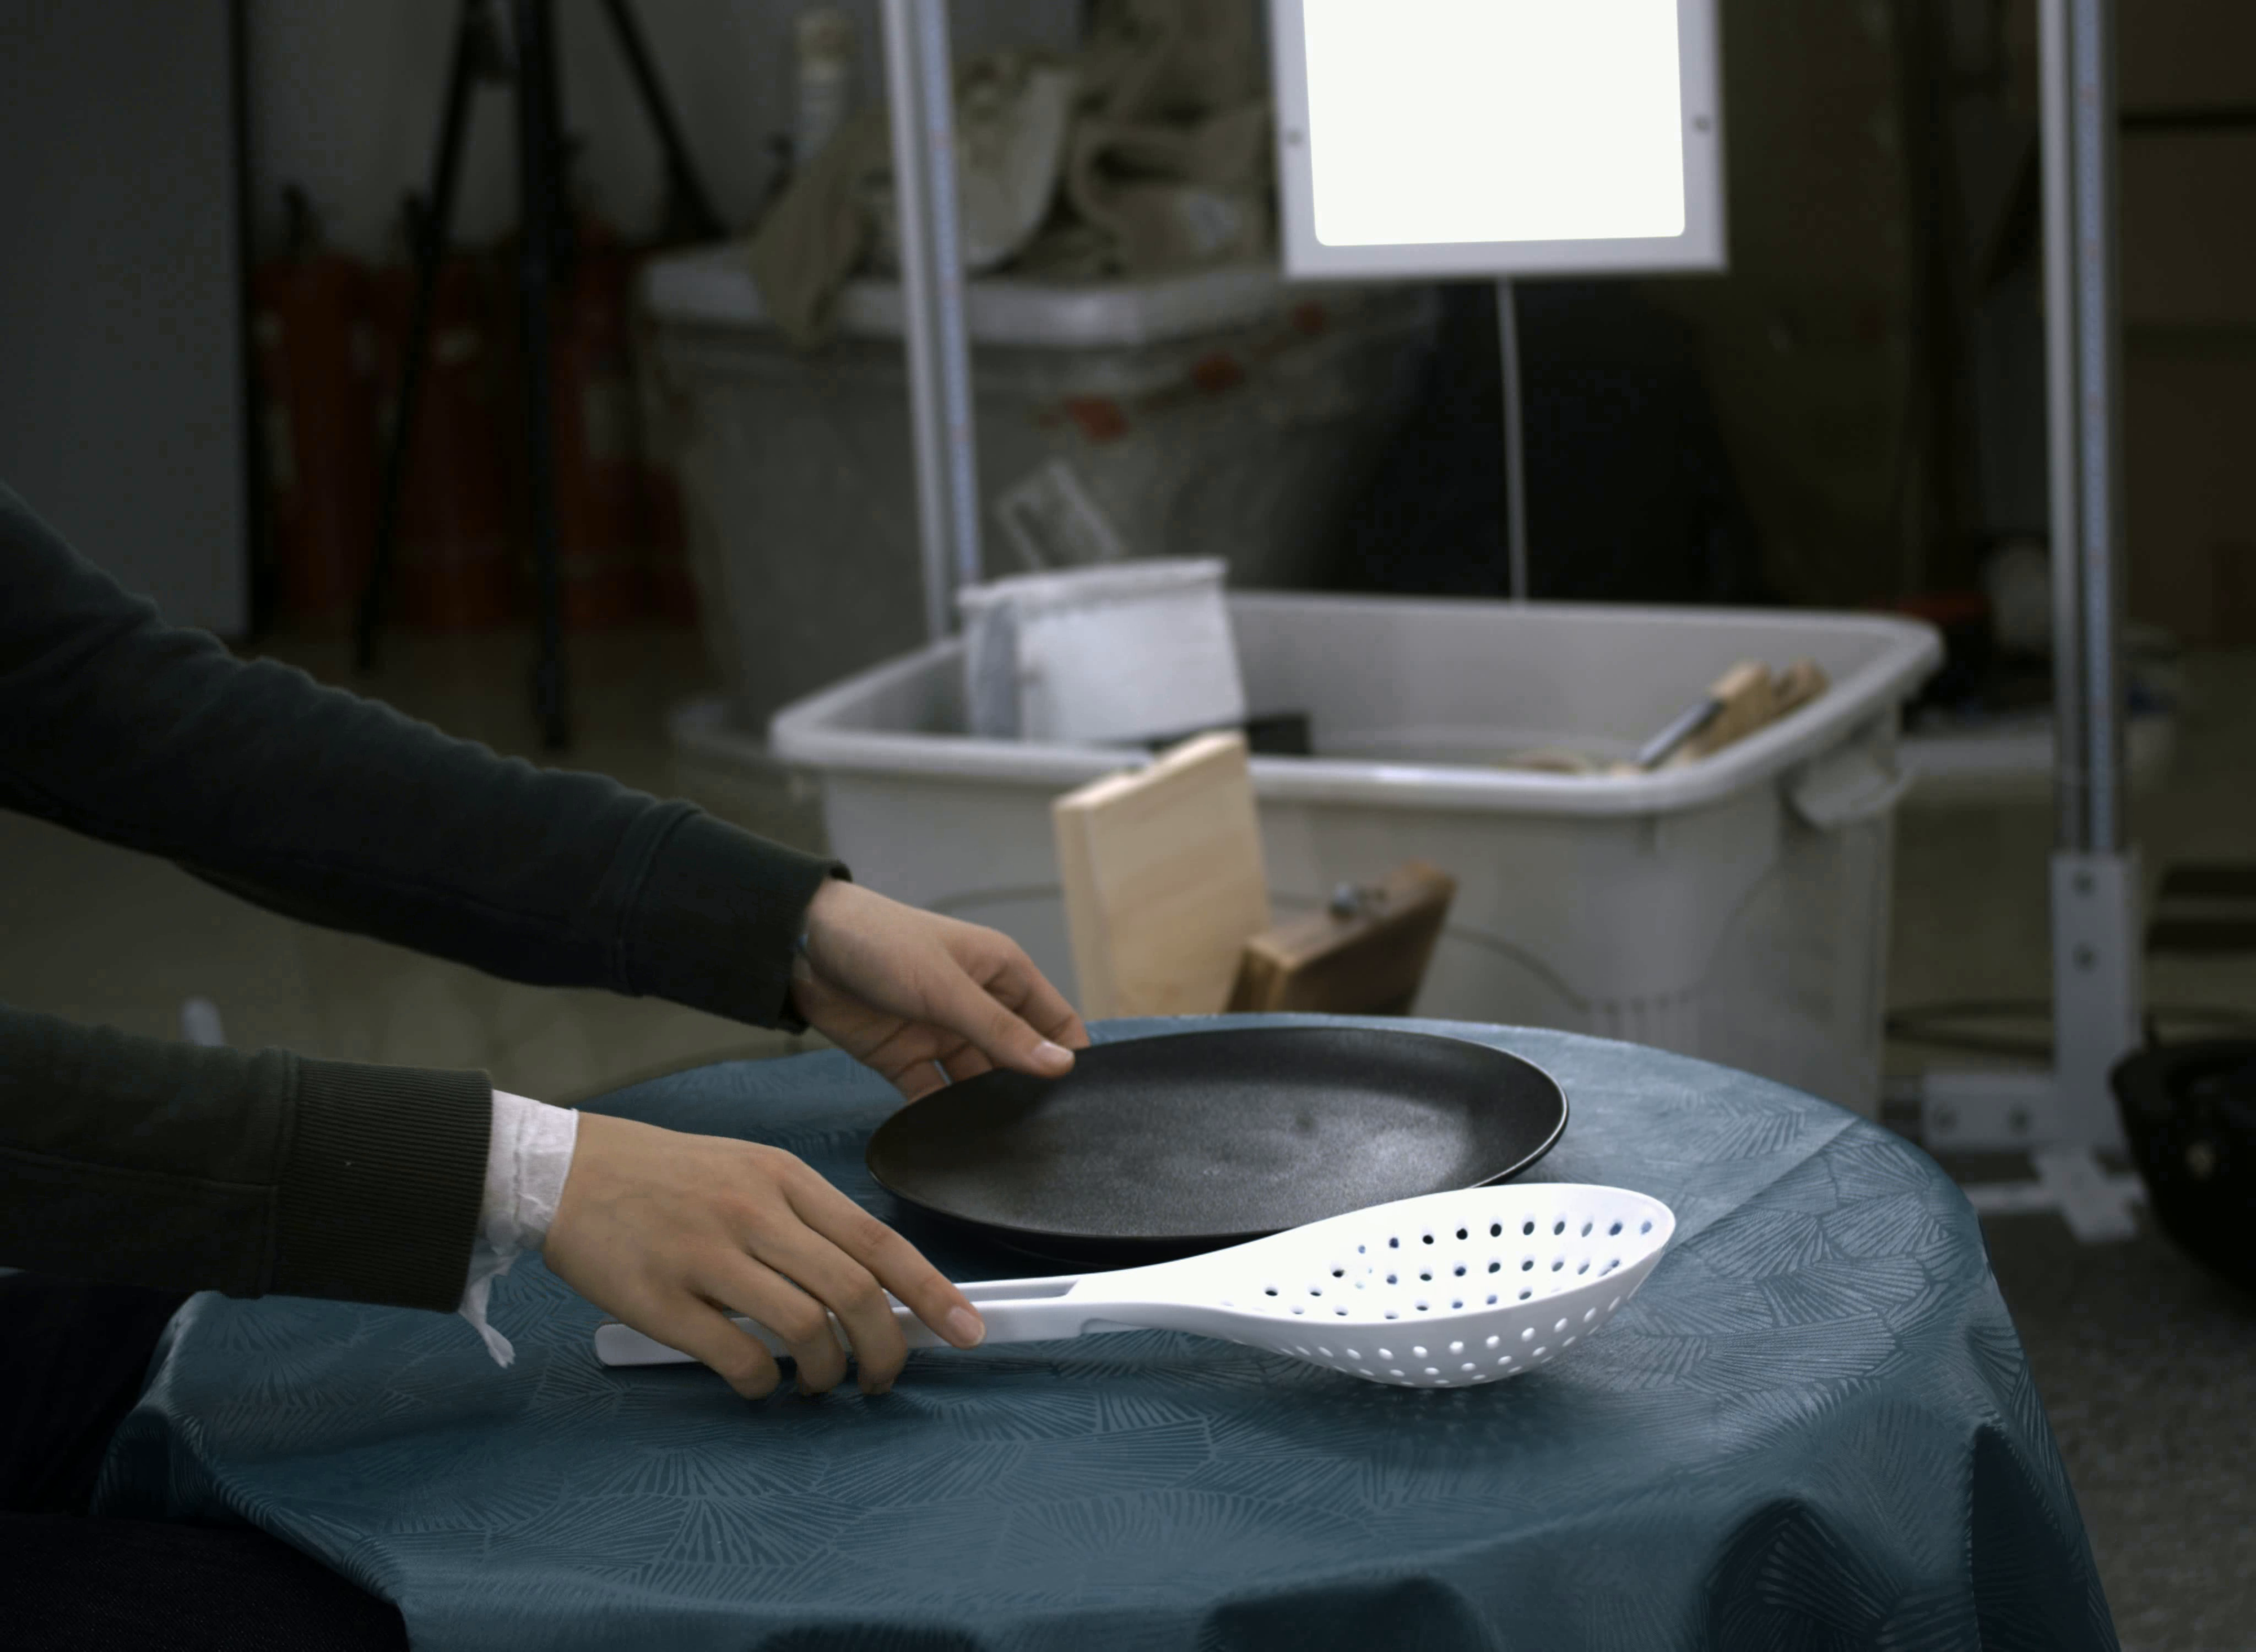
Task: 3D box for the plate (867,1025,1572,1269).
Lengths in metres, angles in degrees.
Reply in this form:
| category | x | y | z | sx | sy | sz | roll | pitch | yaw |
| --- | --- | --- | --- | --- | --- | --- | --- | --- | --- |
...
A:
| category | x | y | z | sx | sy | sz | roll | pitch | yaw |
| --- | --- | --- | --- | --- | --- | --- | --- | --- | --- |
| plate | 0.032 | 0.113 | 1.893 | 0.244 | 0.023 | 0.244 | -5 | 14 | 0 |

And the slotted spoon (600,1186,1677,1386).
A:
| category | x | y | z | sx | sy | sz | roll | pitch | yaw |
| --- | --- | --- | --- | --- | --- | --- | --- | --- | --- |
| slotted spoon | -0.001 | 0.147 | 1.717 | 0.354 | 0.046 | 0.134 | -1 | 12 | 18 |
